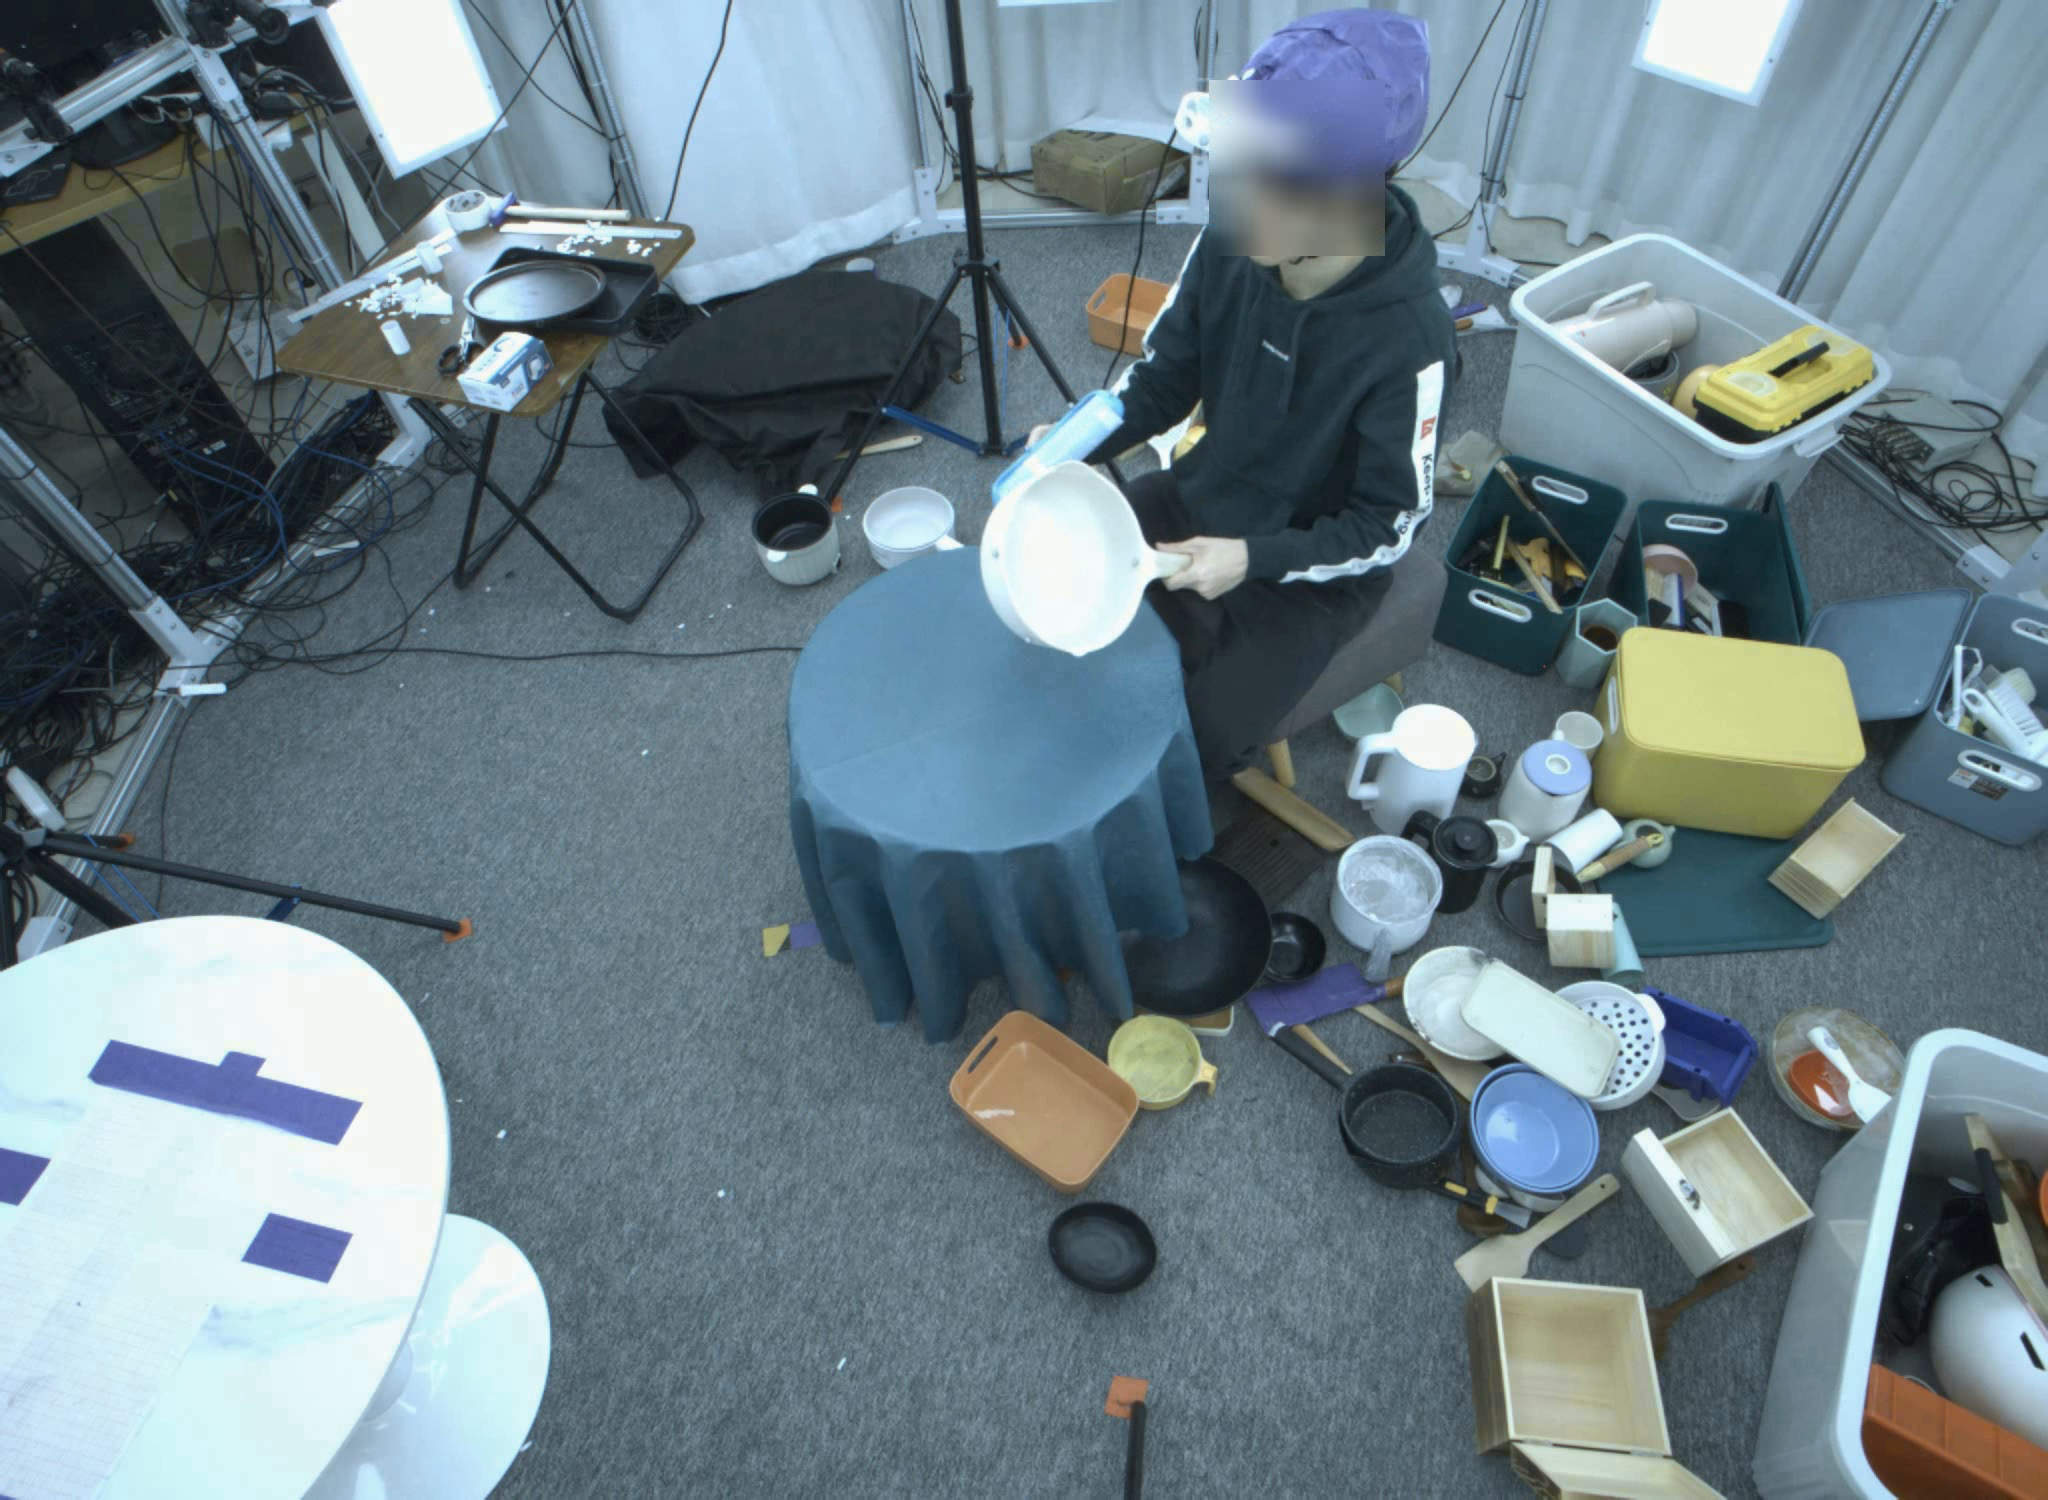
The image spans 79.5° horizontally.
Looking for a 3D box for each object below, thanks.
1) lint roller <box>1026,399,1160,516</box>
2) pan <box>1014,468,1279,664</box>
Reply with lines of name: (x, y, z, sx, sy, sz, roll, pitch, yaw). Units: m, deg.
lint roller: (0.096, -0.422, 1.755, 0.228, 0.179, 0.068, -42, 103, 11)
pan: (0.172, -0.251, 1.722, 0.444, 0.100, 0.263, -4, 94, -37)
